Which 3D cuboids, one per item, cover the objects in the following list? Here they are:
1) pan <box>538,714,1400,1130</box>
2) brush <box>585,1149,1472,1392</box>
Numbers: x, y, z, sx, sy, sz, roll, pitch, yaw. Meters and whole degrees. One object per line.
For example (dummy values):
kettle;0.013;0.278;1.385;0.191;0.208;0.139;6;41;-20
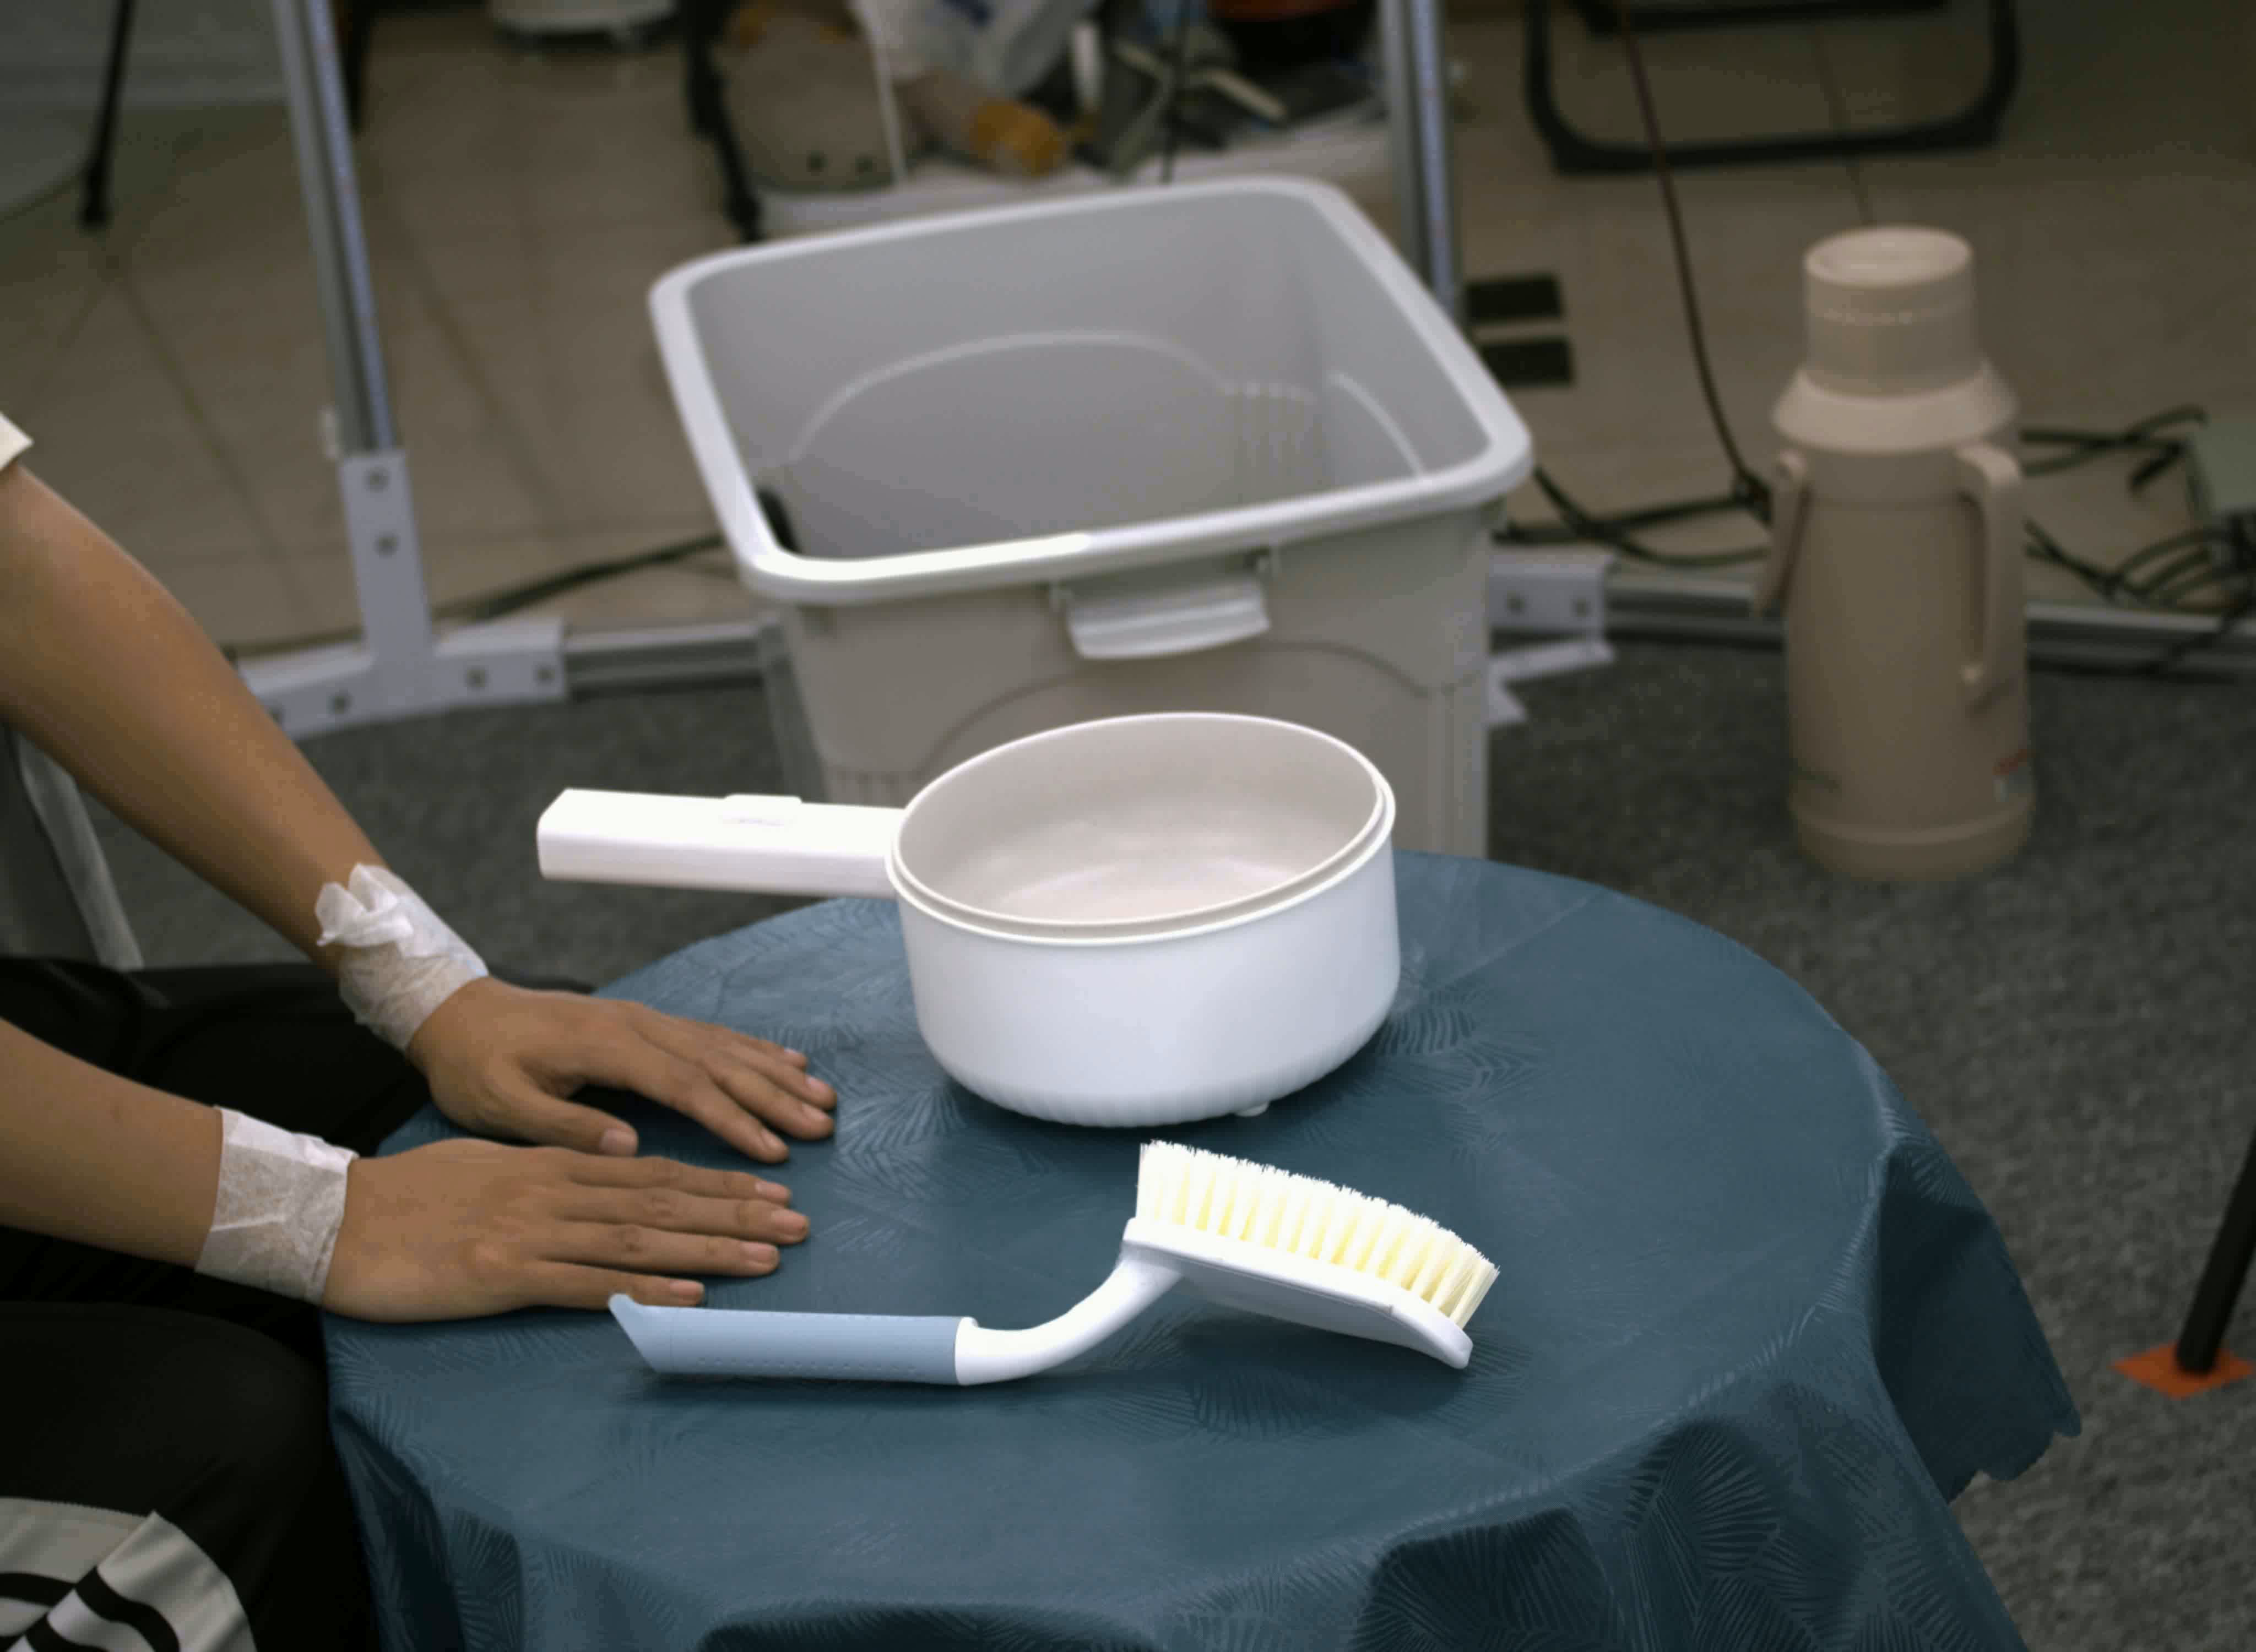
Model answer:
pan;-0.064;0.039;2.264;0.354;0.104;0.198;2;27;19
brush;-0.037;0.151;2.036;0.325;0.084;0.083;1;33;13
